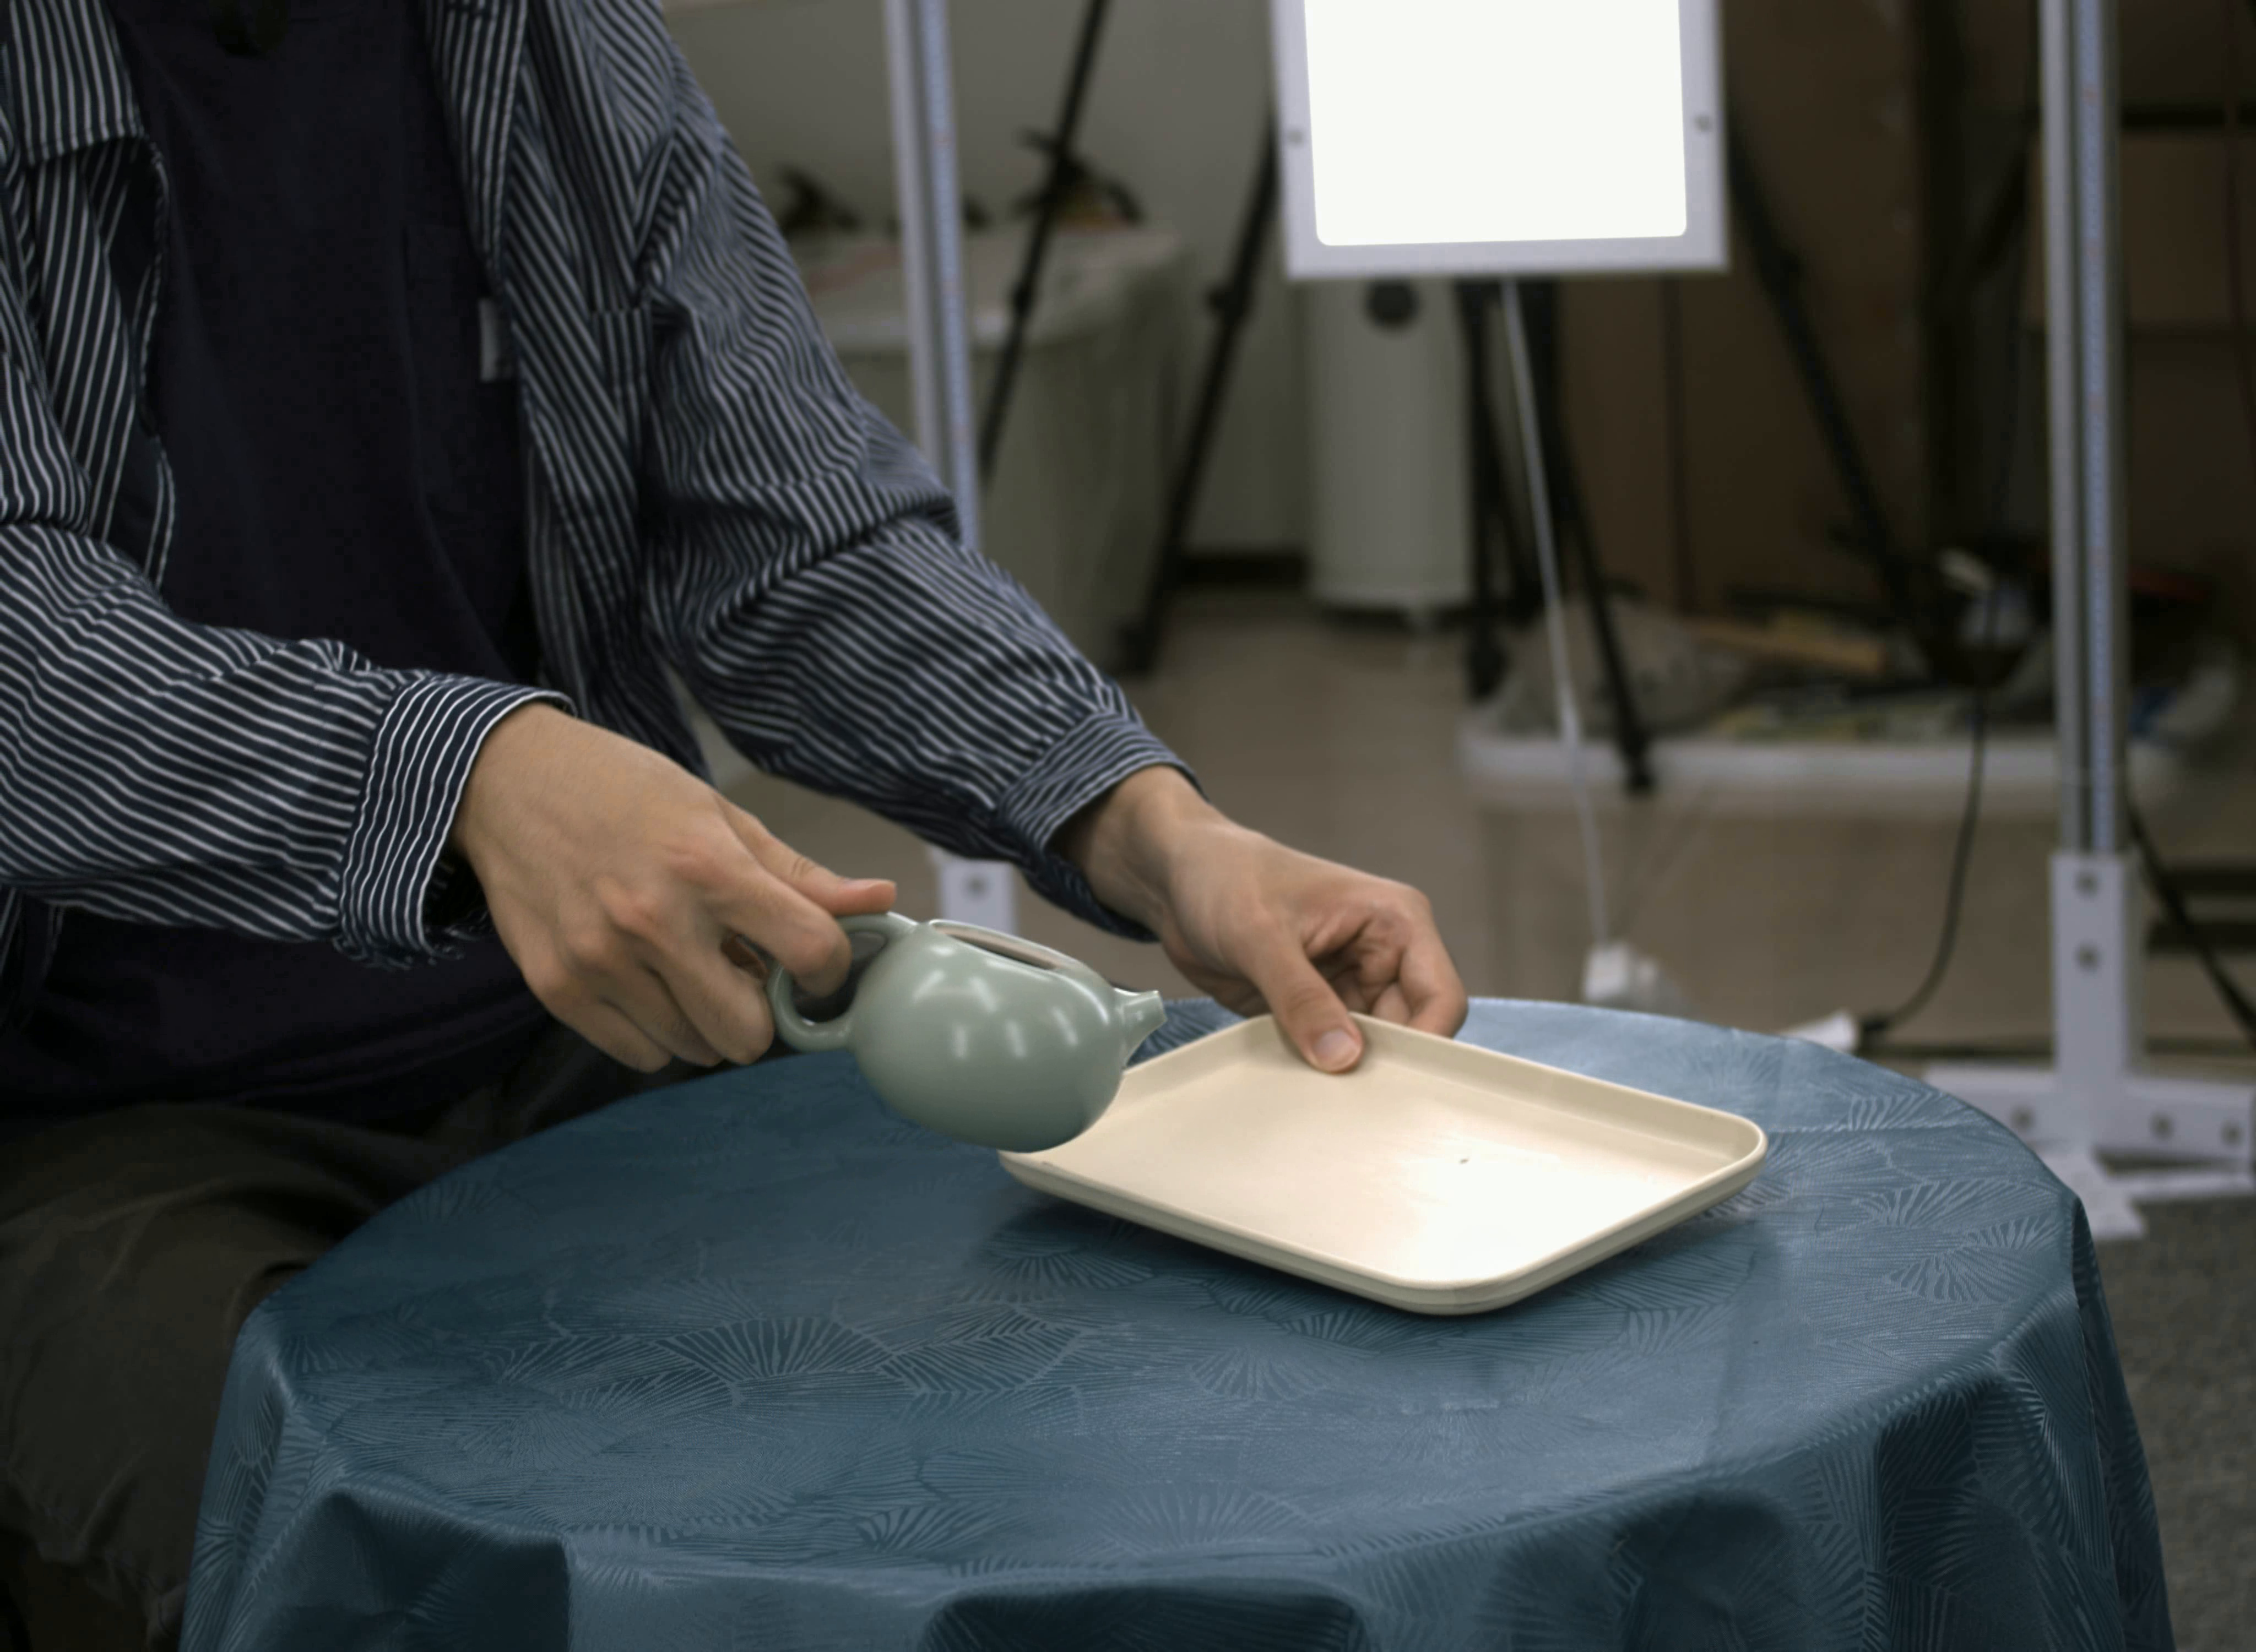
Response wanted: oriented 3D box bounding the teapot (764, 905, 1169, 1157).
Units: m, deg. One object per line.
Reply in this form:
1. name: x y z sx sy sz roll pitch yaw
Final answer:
1. teapot: -0.054 0.065 1.765 0.128 0.061 0.091 18 10 -4

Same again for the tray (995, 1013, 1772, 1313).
1. tray: 0.085 0.112 1.851 0.167 0.017 0.245 -20 22 -39
